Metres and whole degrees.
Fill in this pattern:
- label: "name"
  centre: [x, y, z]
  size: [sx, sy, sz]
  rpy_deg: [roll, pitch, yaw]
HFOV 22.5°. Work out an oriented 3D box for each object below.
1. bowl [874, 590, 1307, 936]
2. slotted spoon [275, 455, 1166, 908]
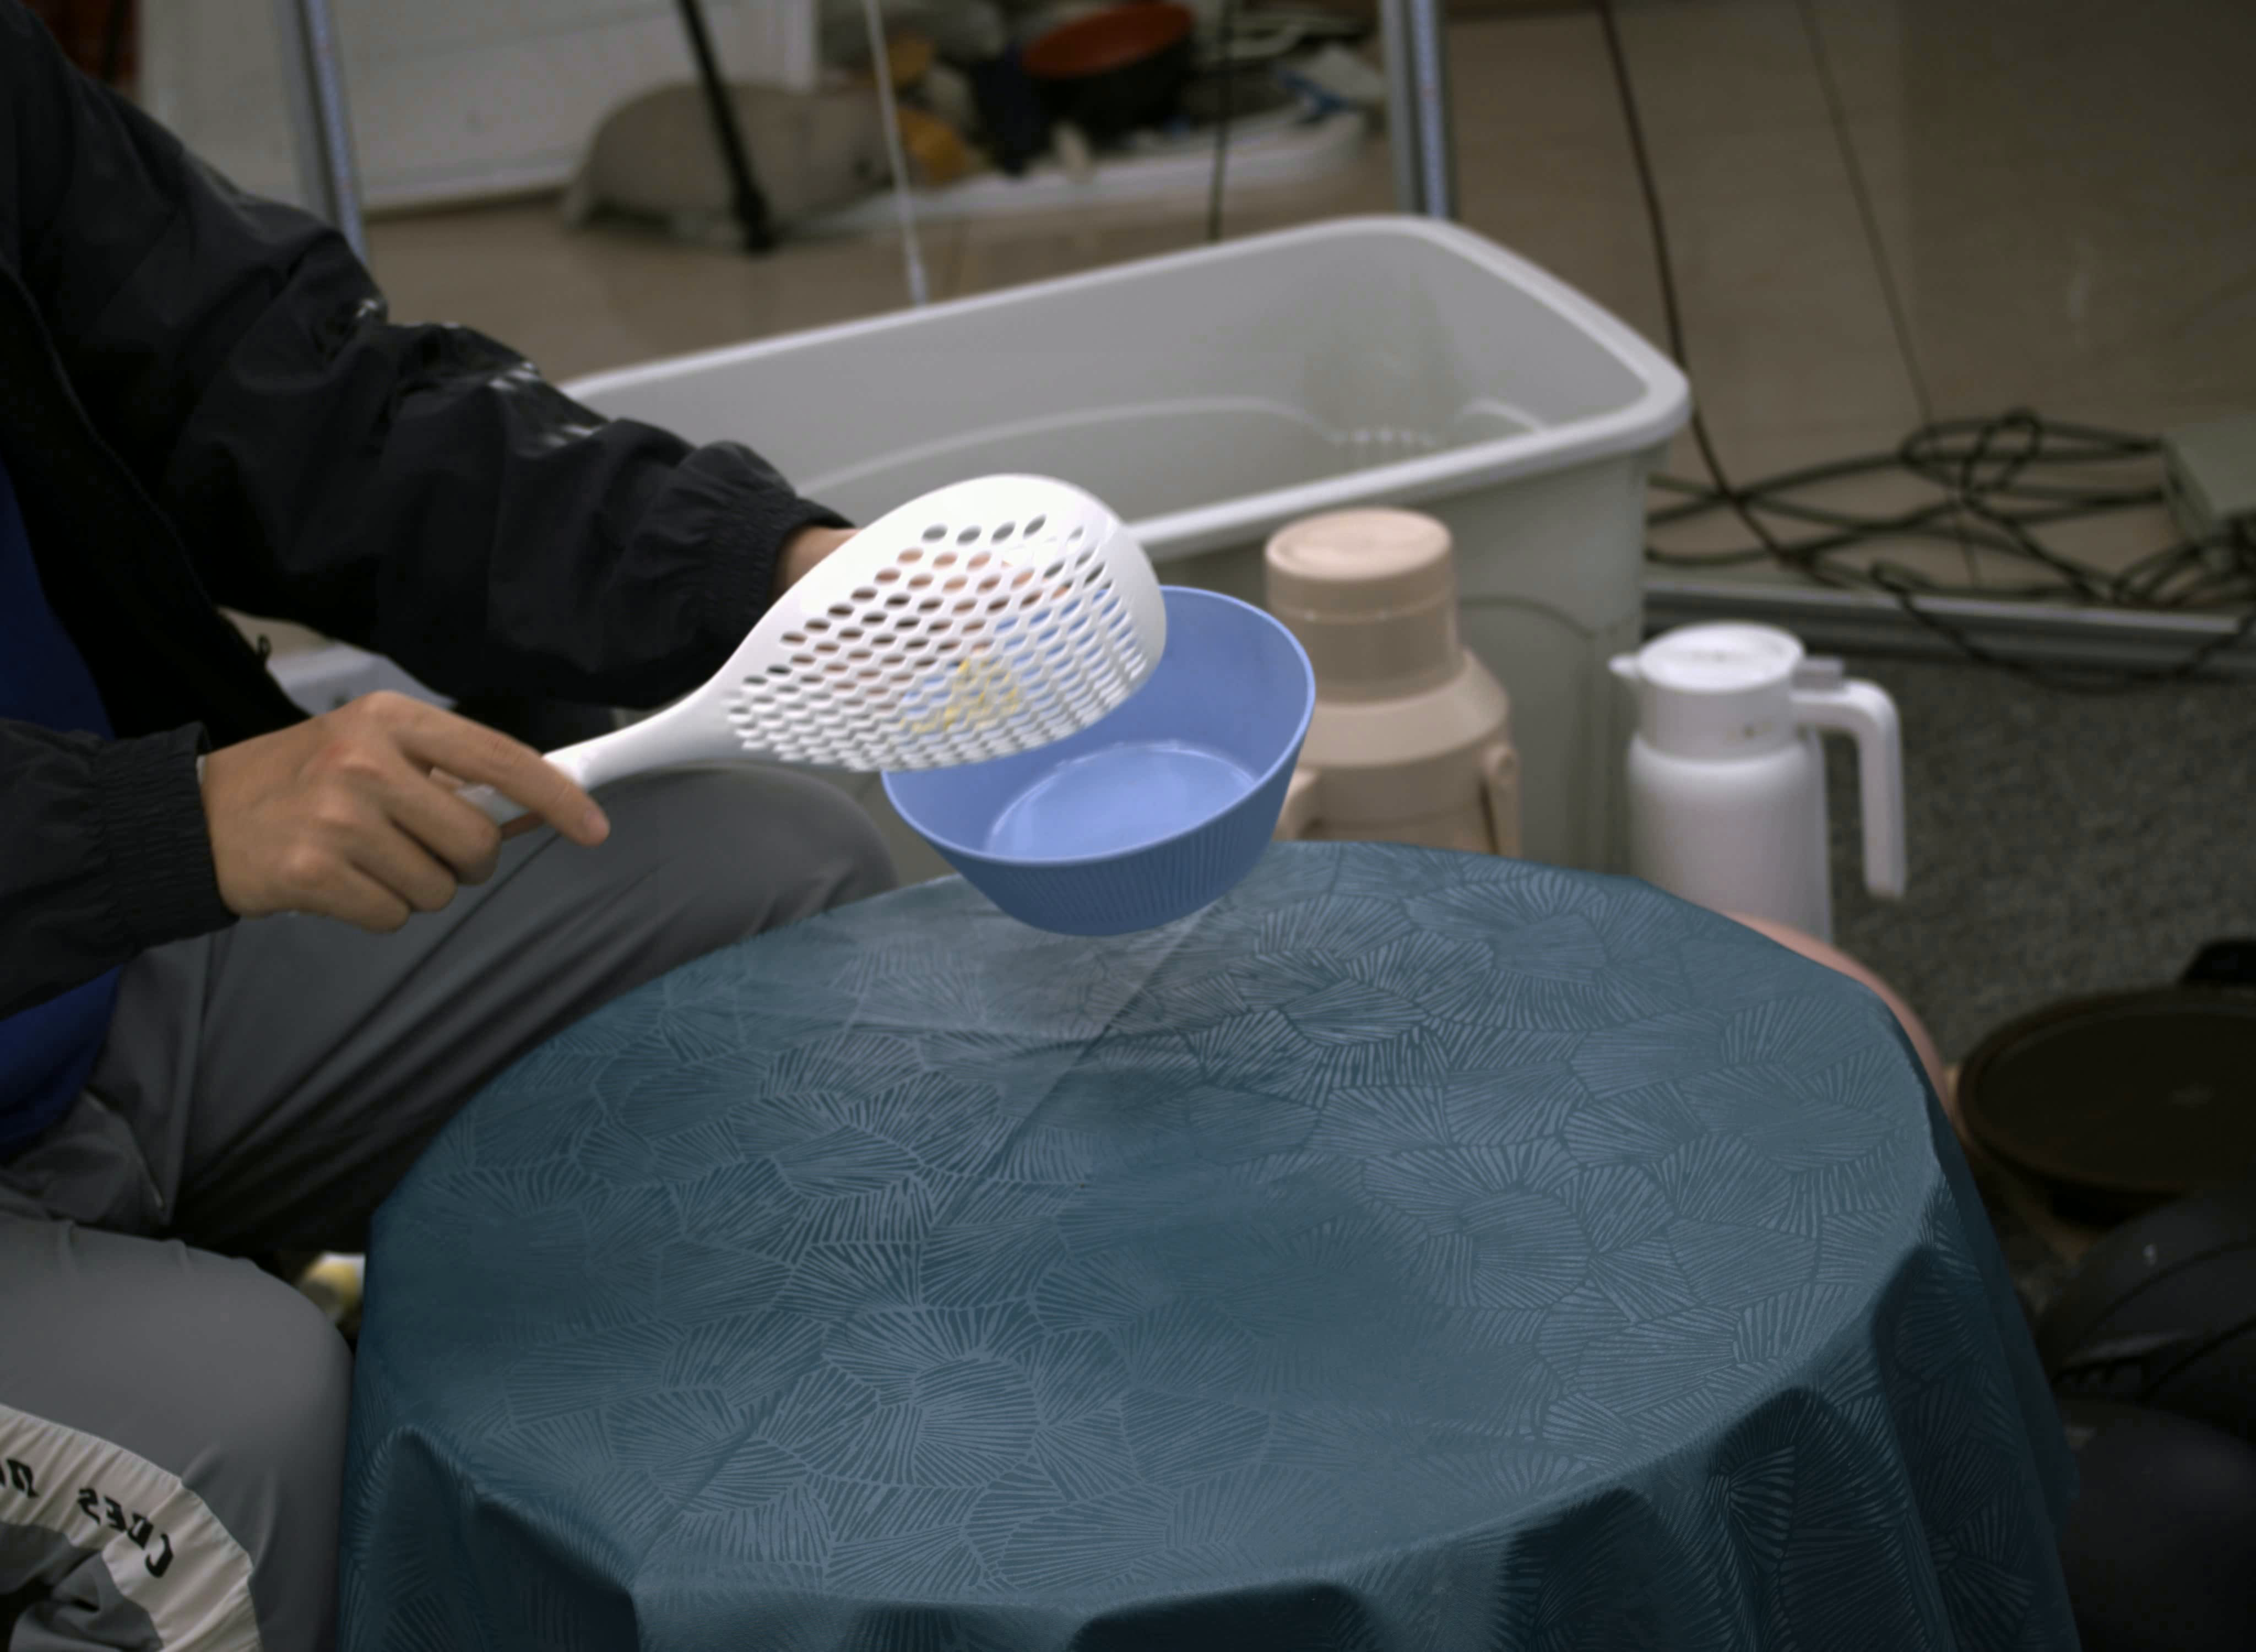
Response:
- label: "bowl"
  centre: [-0.009, -0.017, 2.248]
  size: [0.176, 0.071, 0.173]
  rpy_deg: [-10, 38, 8]
- label: "slotted spoon"
  centre: [-0.152, -0.036, 2.102]
  size: [0.348, 0.139, 0.049]
  rpy_deg: [-17, 47, 7]
